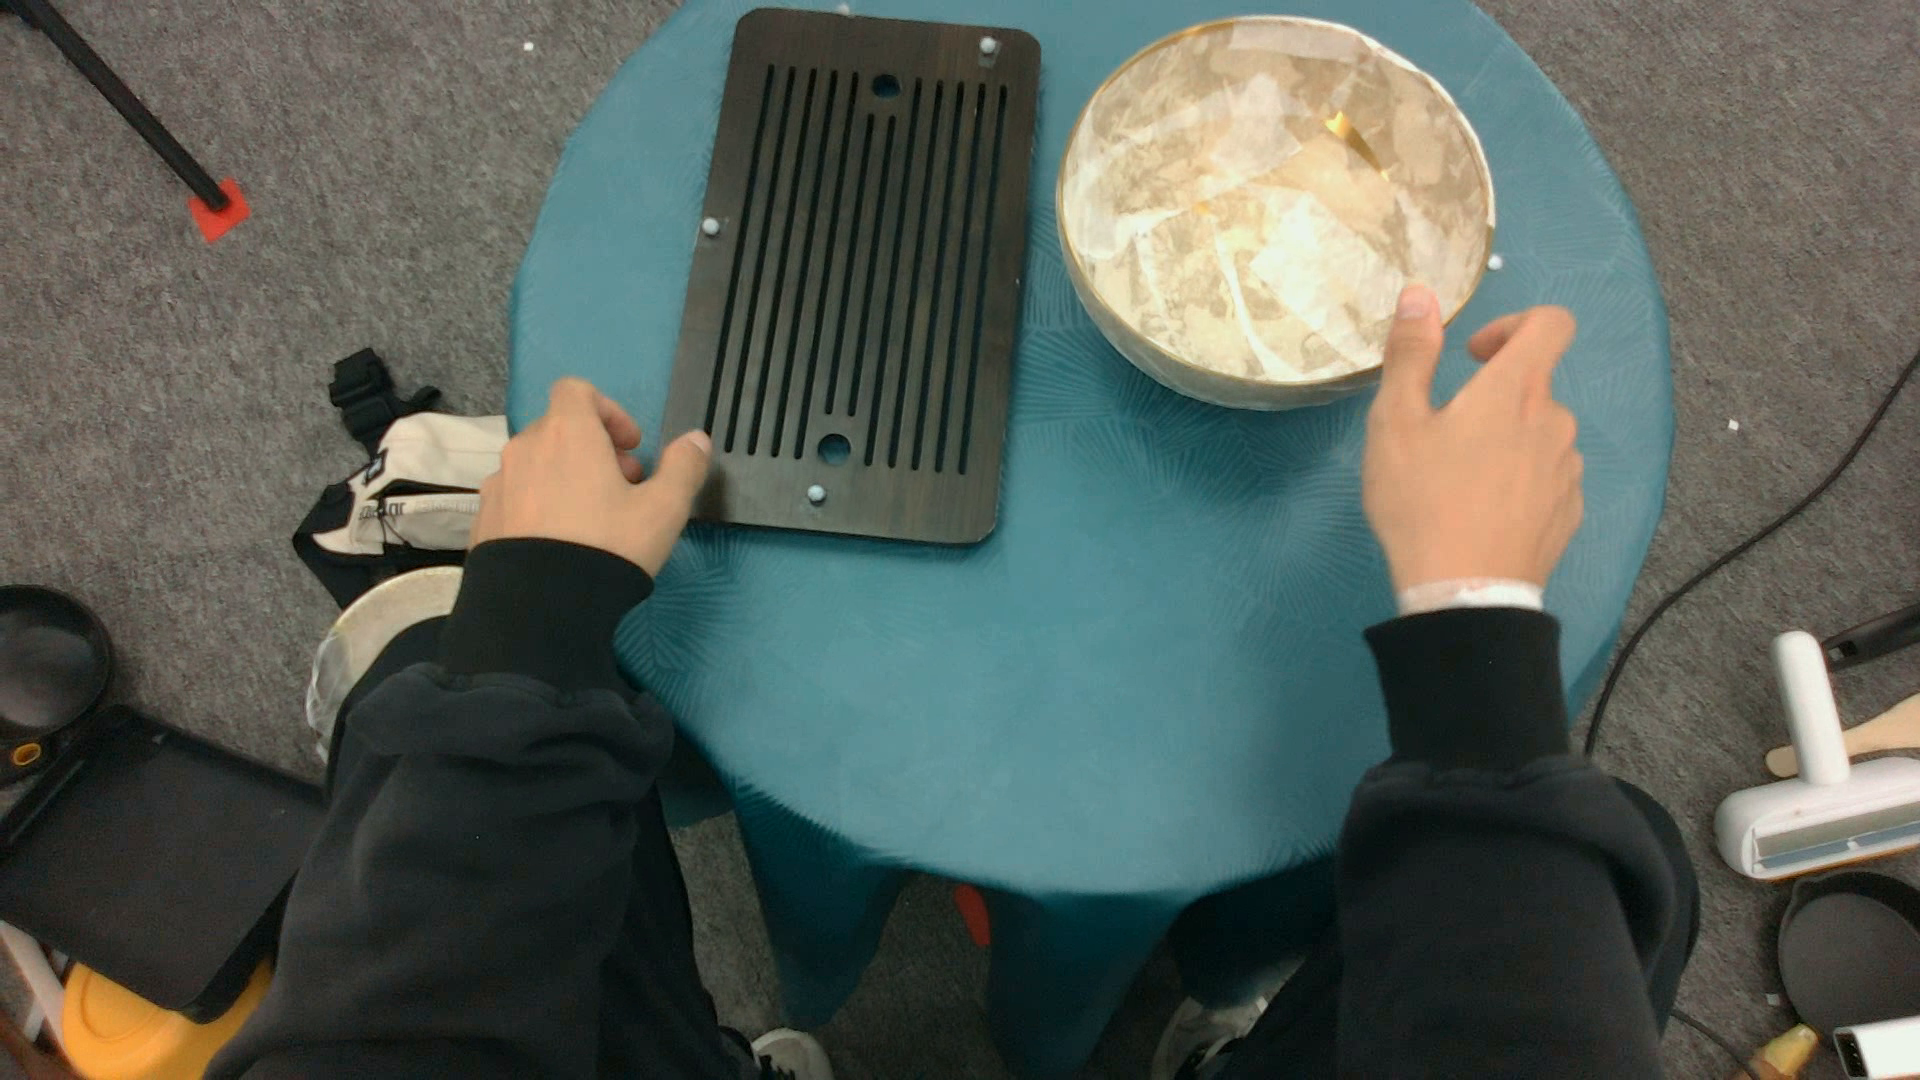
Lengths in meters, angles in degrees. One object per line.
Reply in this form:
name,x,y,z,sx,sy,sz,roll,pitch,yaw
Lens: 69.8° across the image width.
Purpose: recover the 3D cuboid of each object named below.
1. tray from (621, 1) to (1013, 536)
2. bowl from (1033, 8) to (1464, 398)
tray,-0.068,-0.150,0.718,0.170,0.018,0.307,5,69,1
bowl,0.131,-0.151,0.682,0.215,0.094,0.215,1,69,-2
